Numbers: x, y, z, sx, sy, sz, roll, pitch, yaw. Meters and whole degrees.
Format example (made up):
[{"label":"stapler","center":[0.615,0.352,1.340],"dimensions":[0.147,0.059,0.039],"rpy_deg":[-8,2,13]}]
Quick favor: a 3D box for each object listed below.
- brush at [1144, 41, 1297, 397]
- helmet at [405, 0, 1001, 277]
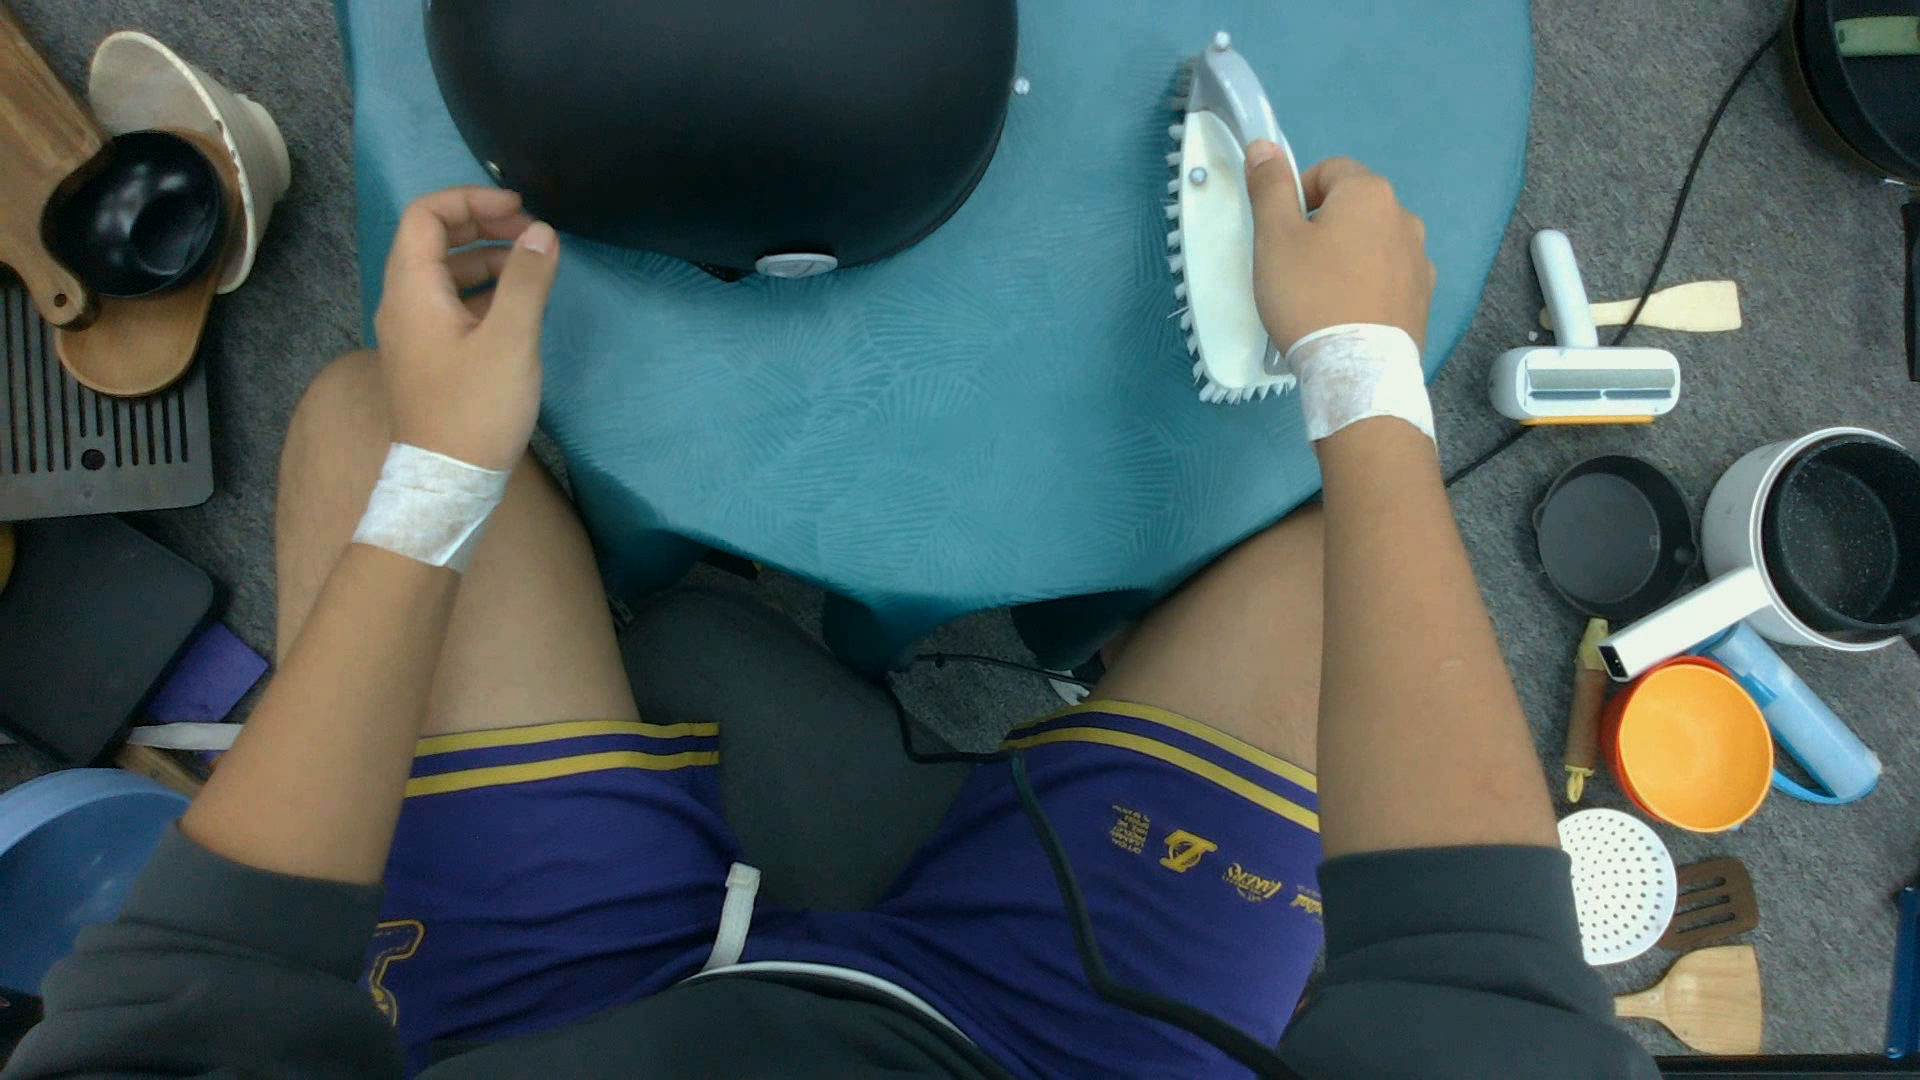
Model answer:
[{"label":"brush","center":[0.126,-0.163,0.659],"dimensions":[0.061,0.094,0.175],"rpy_deg":[-7,84,-8]},{"label":"helmet","center":[-0.104,-0.240,0.594],"dimensions":[0.273,0.166,0.230],"rpy_deg":[8,86,-10]}]
